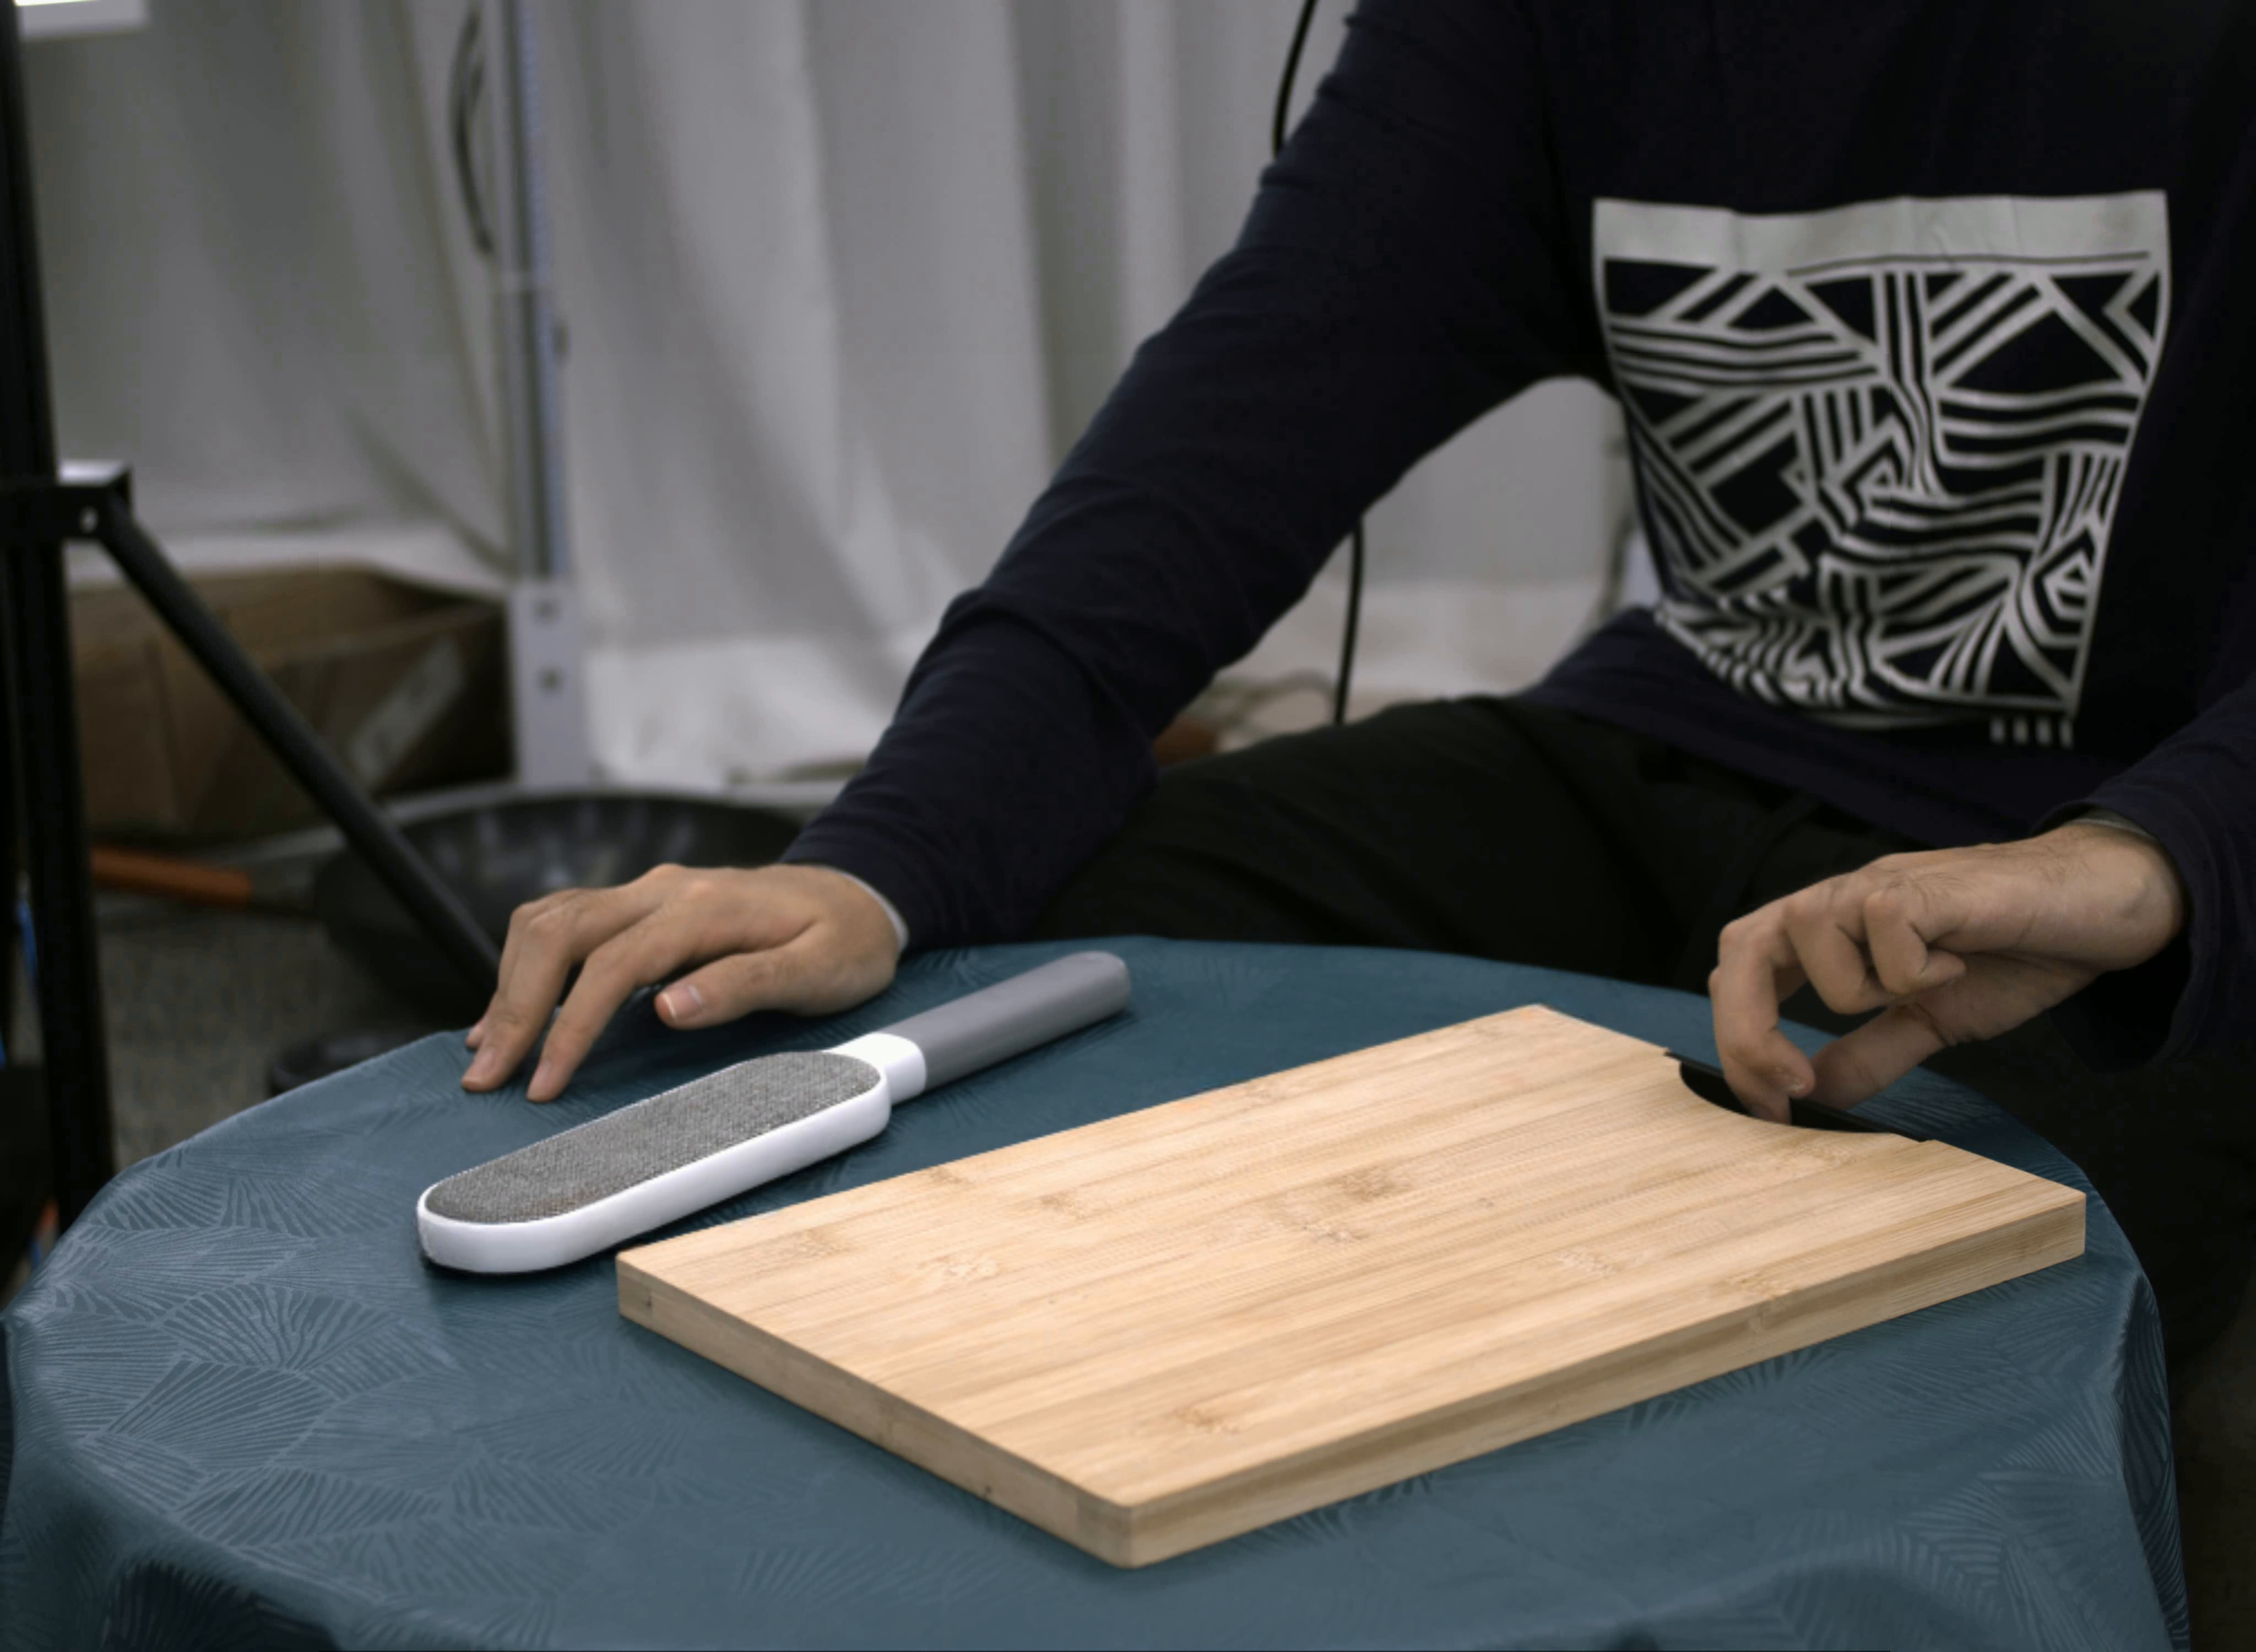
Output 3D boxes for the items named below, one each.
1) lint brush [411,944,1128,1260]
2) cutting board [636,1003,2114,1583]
[{"bbox_3d":[-0.099,0.081,1.622,0.061,0.021,0.302,4,16,40],"label":"lint brush"},{"bbox_3d":[0.068,0.120,1.480,0.340,0.023,0.256,-13,20,-34],"label":"cutting board"}]
